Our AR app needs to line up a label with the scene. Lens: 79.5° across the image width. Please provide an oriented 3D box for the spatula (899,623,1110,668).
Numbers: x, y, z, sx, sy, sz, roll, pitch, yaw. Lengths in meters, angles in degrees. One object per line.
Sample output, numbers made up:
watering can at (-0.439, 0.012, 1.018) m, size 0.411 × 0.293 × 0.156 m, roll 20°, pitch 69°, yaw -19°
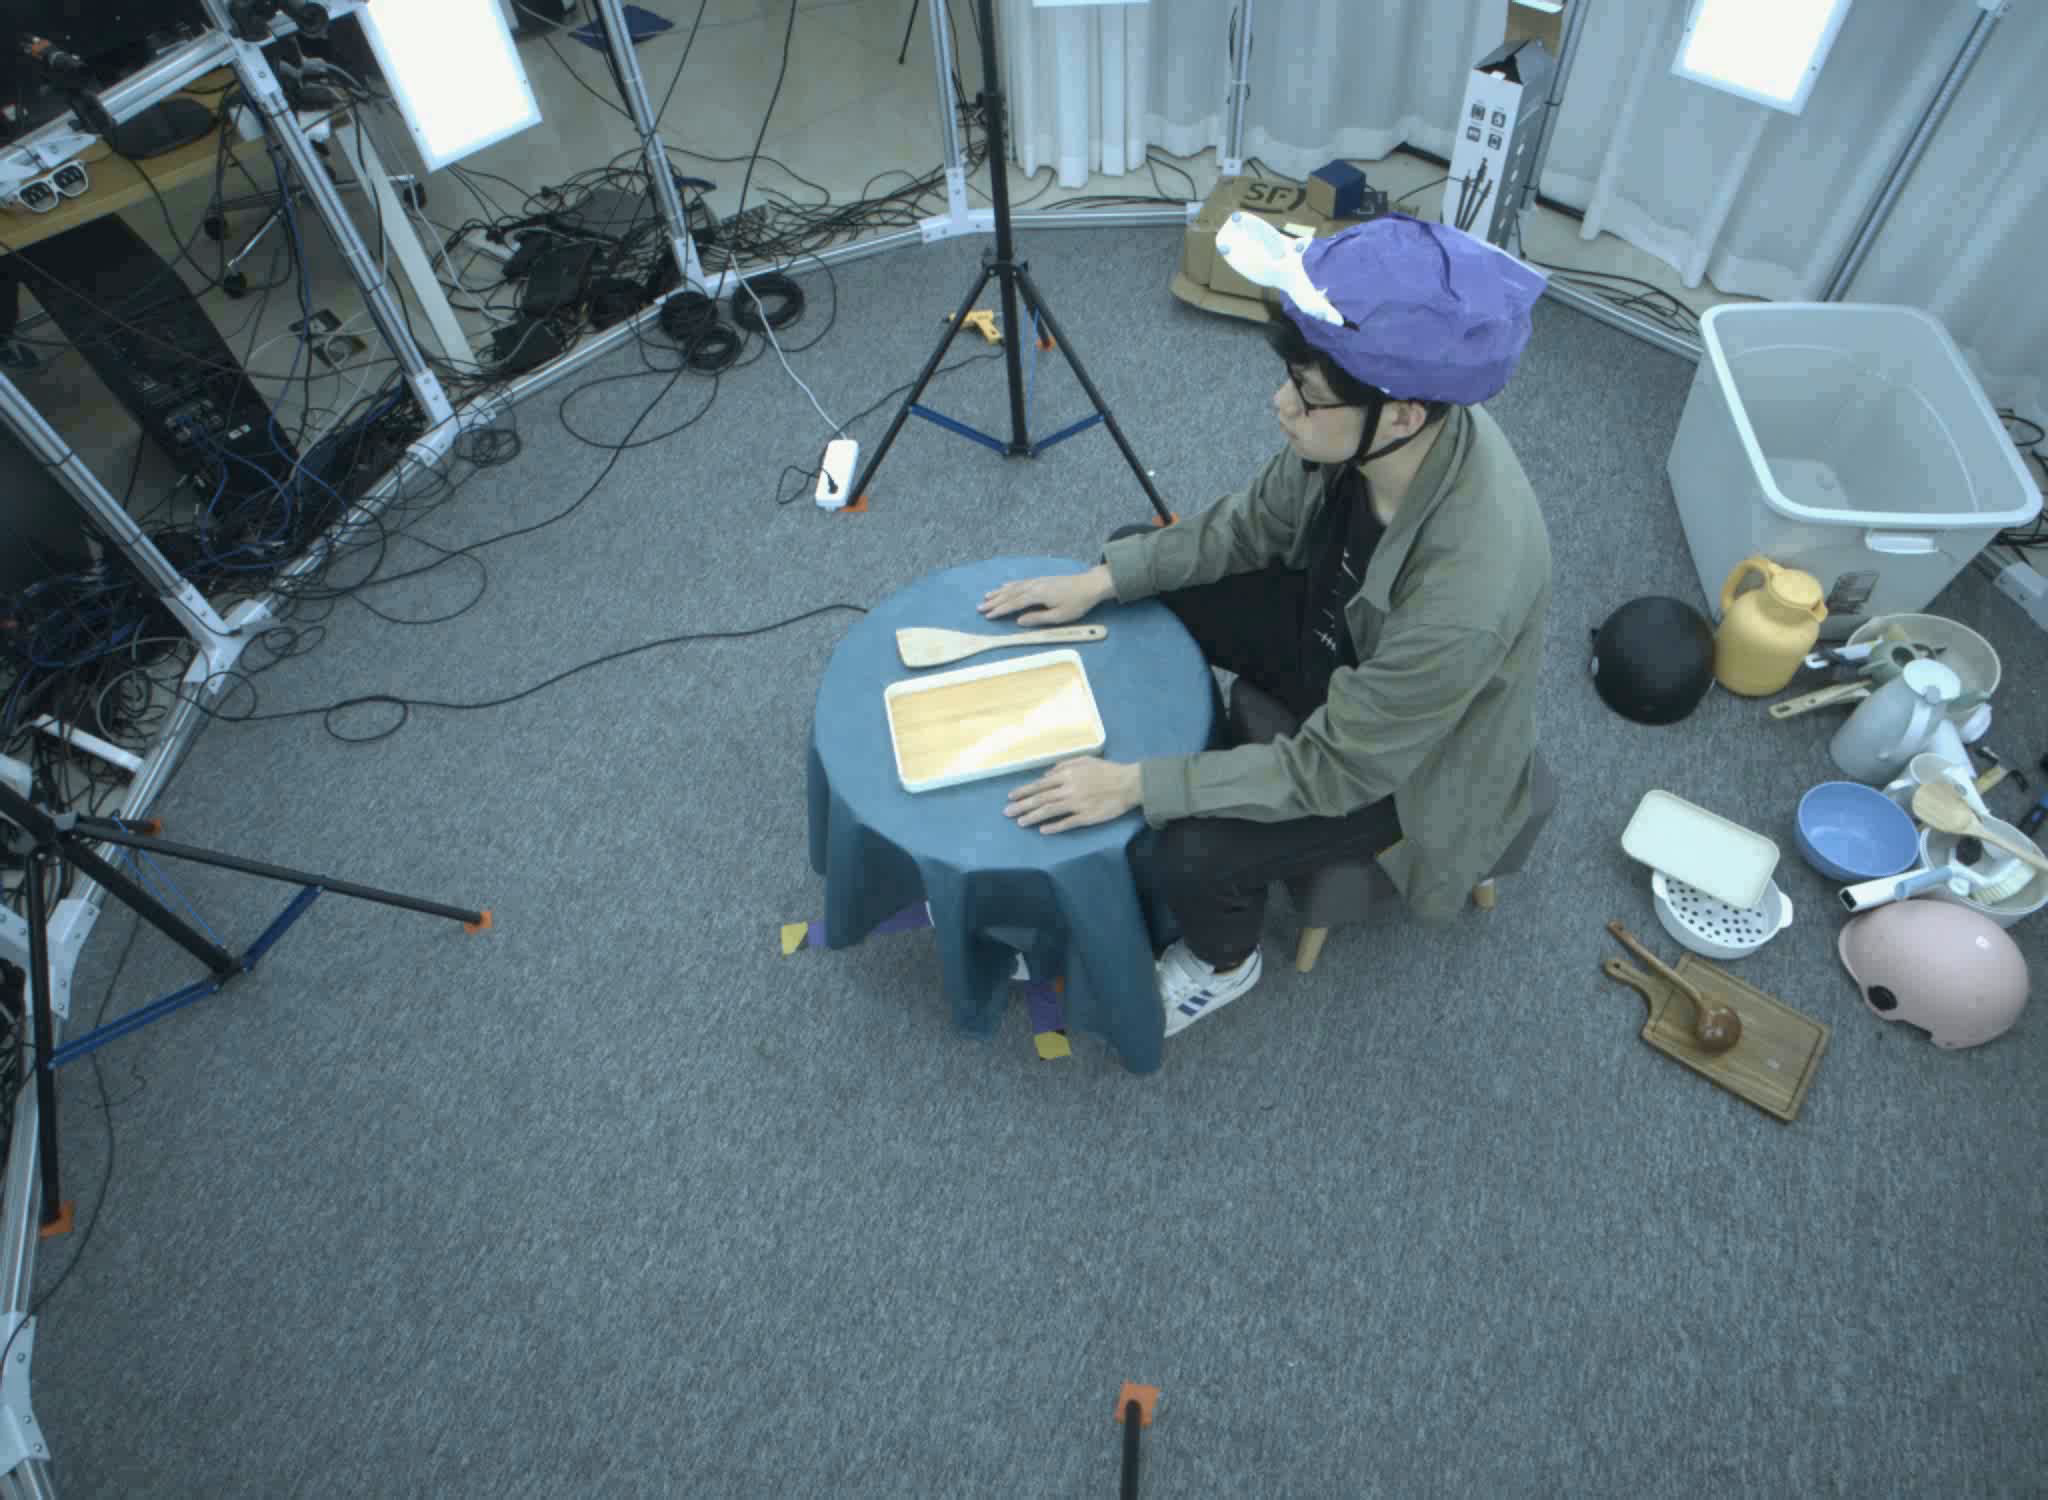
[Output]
spatula at (-0.030, -0.172, 1.905) m, size 0.328 × 0.017 × 0.079 m, roll -6°, pitch 55°, yaw -3°

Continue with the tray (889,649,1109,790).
tray at (-0.040, -0.047, 1.810) m, size 0.302 × 0.027 × 0.188 m, roll -10°, pitch 55°, yaw -7°
